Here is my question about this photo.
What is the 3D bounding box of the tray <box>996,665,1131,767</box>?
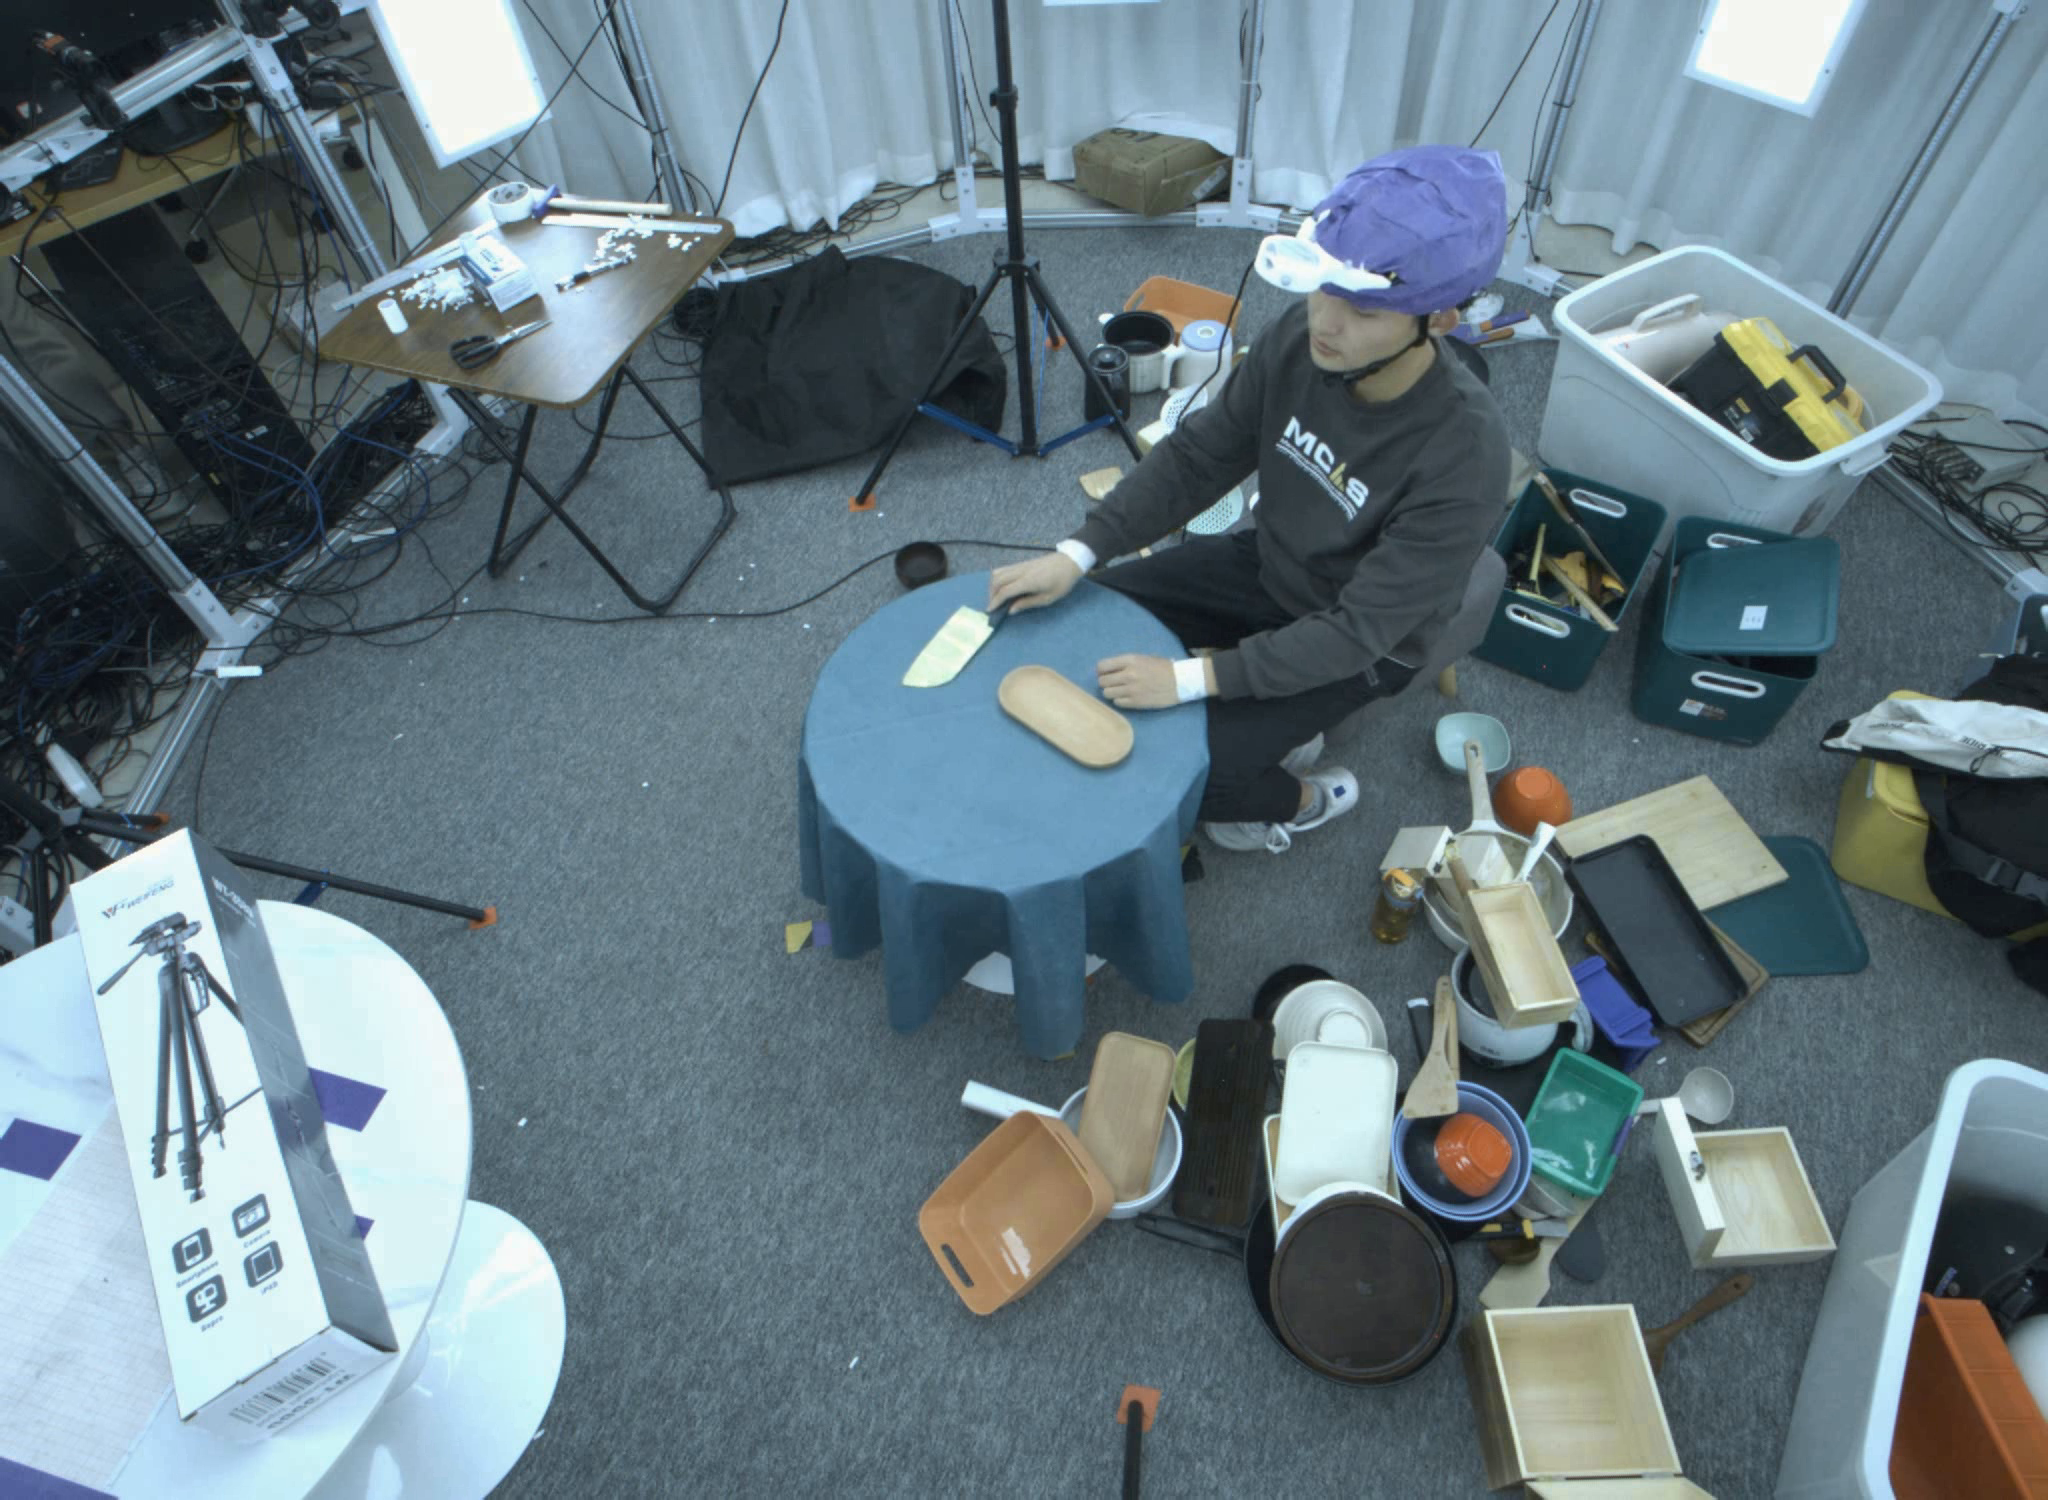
[{"bbox_3d":[0.057,-0.052,1.821,0.227,0.020,0.102,34,61,24],"label":"tray"}]

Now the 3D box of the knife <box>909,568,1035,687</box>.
[{"bbox_3d":[-0.081,-0.196,1.926,0.080,0.027,0.291,33,63,17],"label":"knife"}]
